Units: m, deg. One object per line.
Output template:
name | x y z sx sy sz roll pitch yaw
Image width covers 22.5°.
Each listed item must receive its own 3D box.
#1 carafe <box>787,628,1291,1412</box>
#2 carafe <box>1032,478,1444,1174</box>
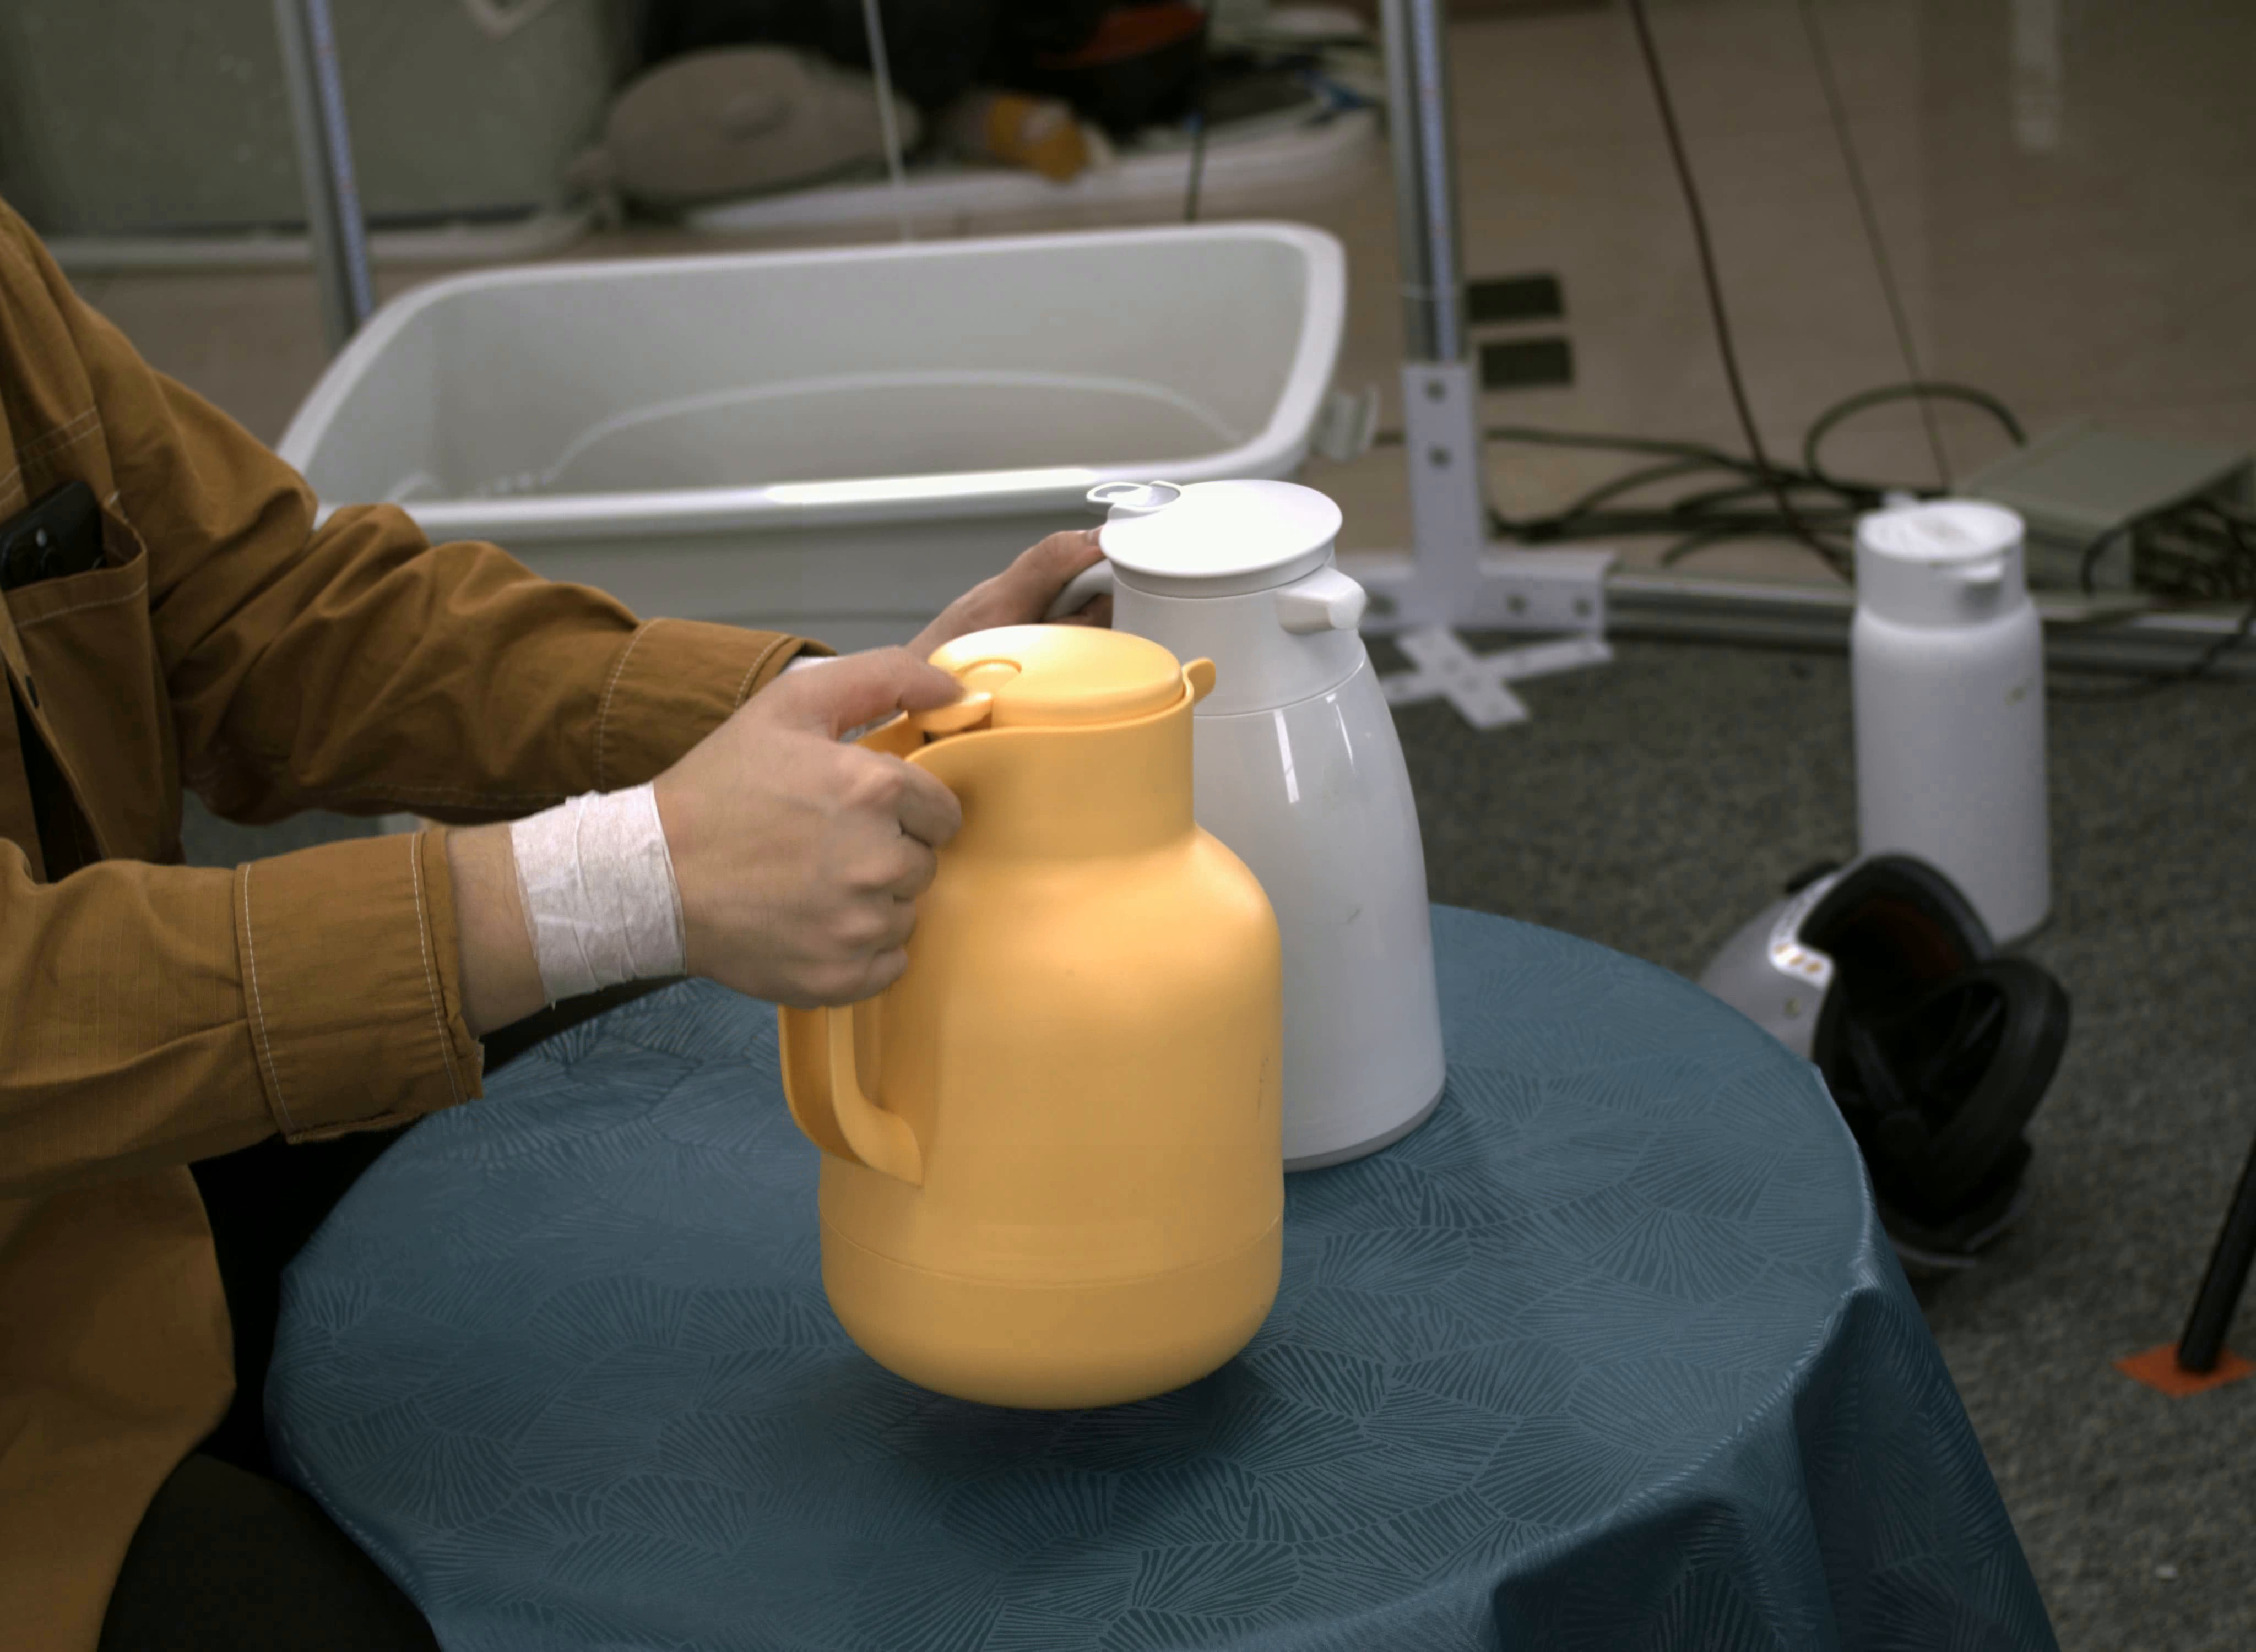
carafe | -0.038 0.067 1.956 0.162 0.264 0.201 16 25 41
carafe | 0.031 -0.010 2.164 0.166 0.252 0.131 16 34 40
